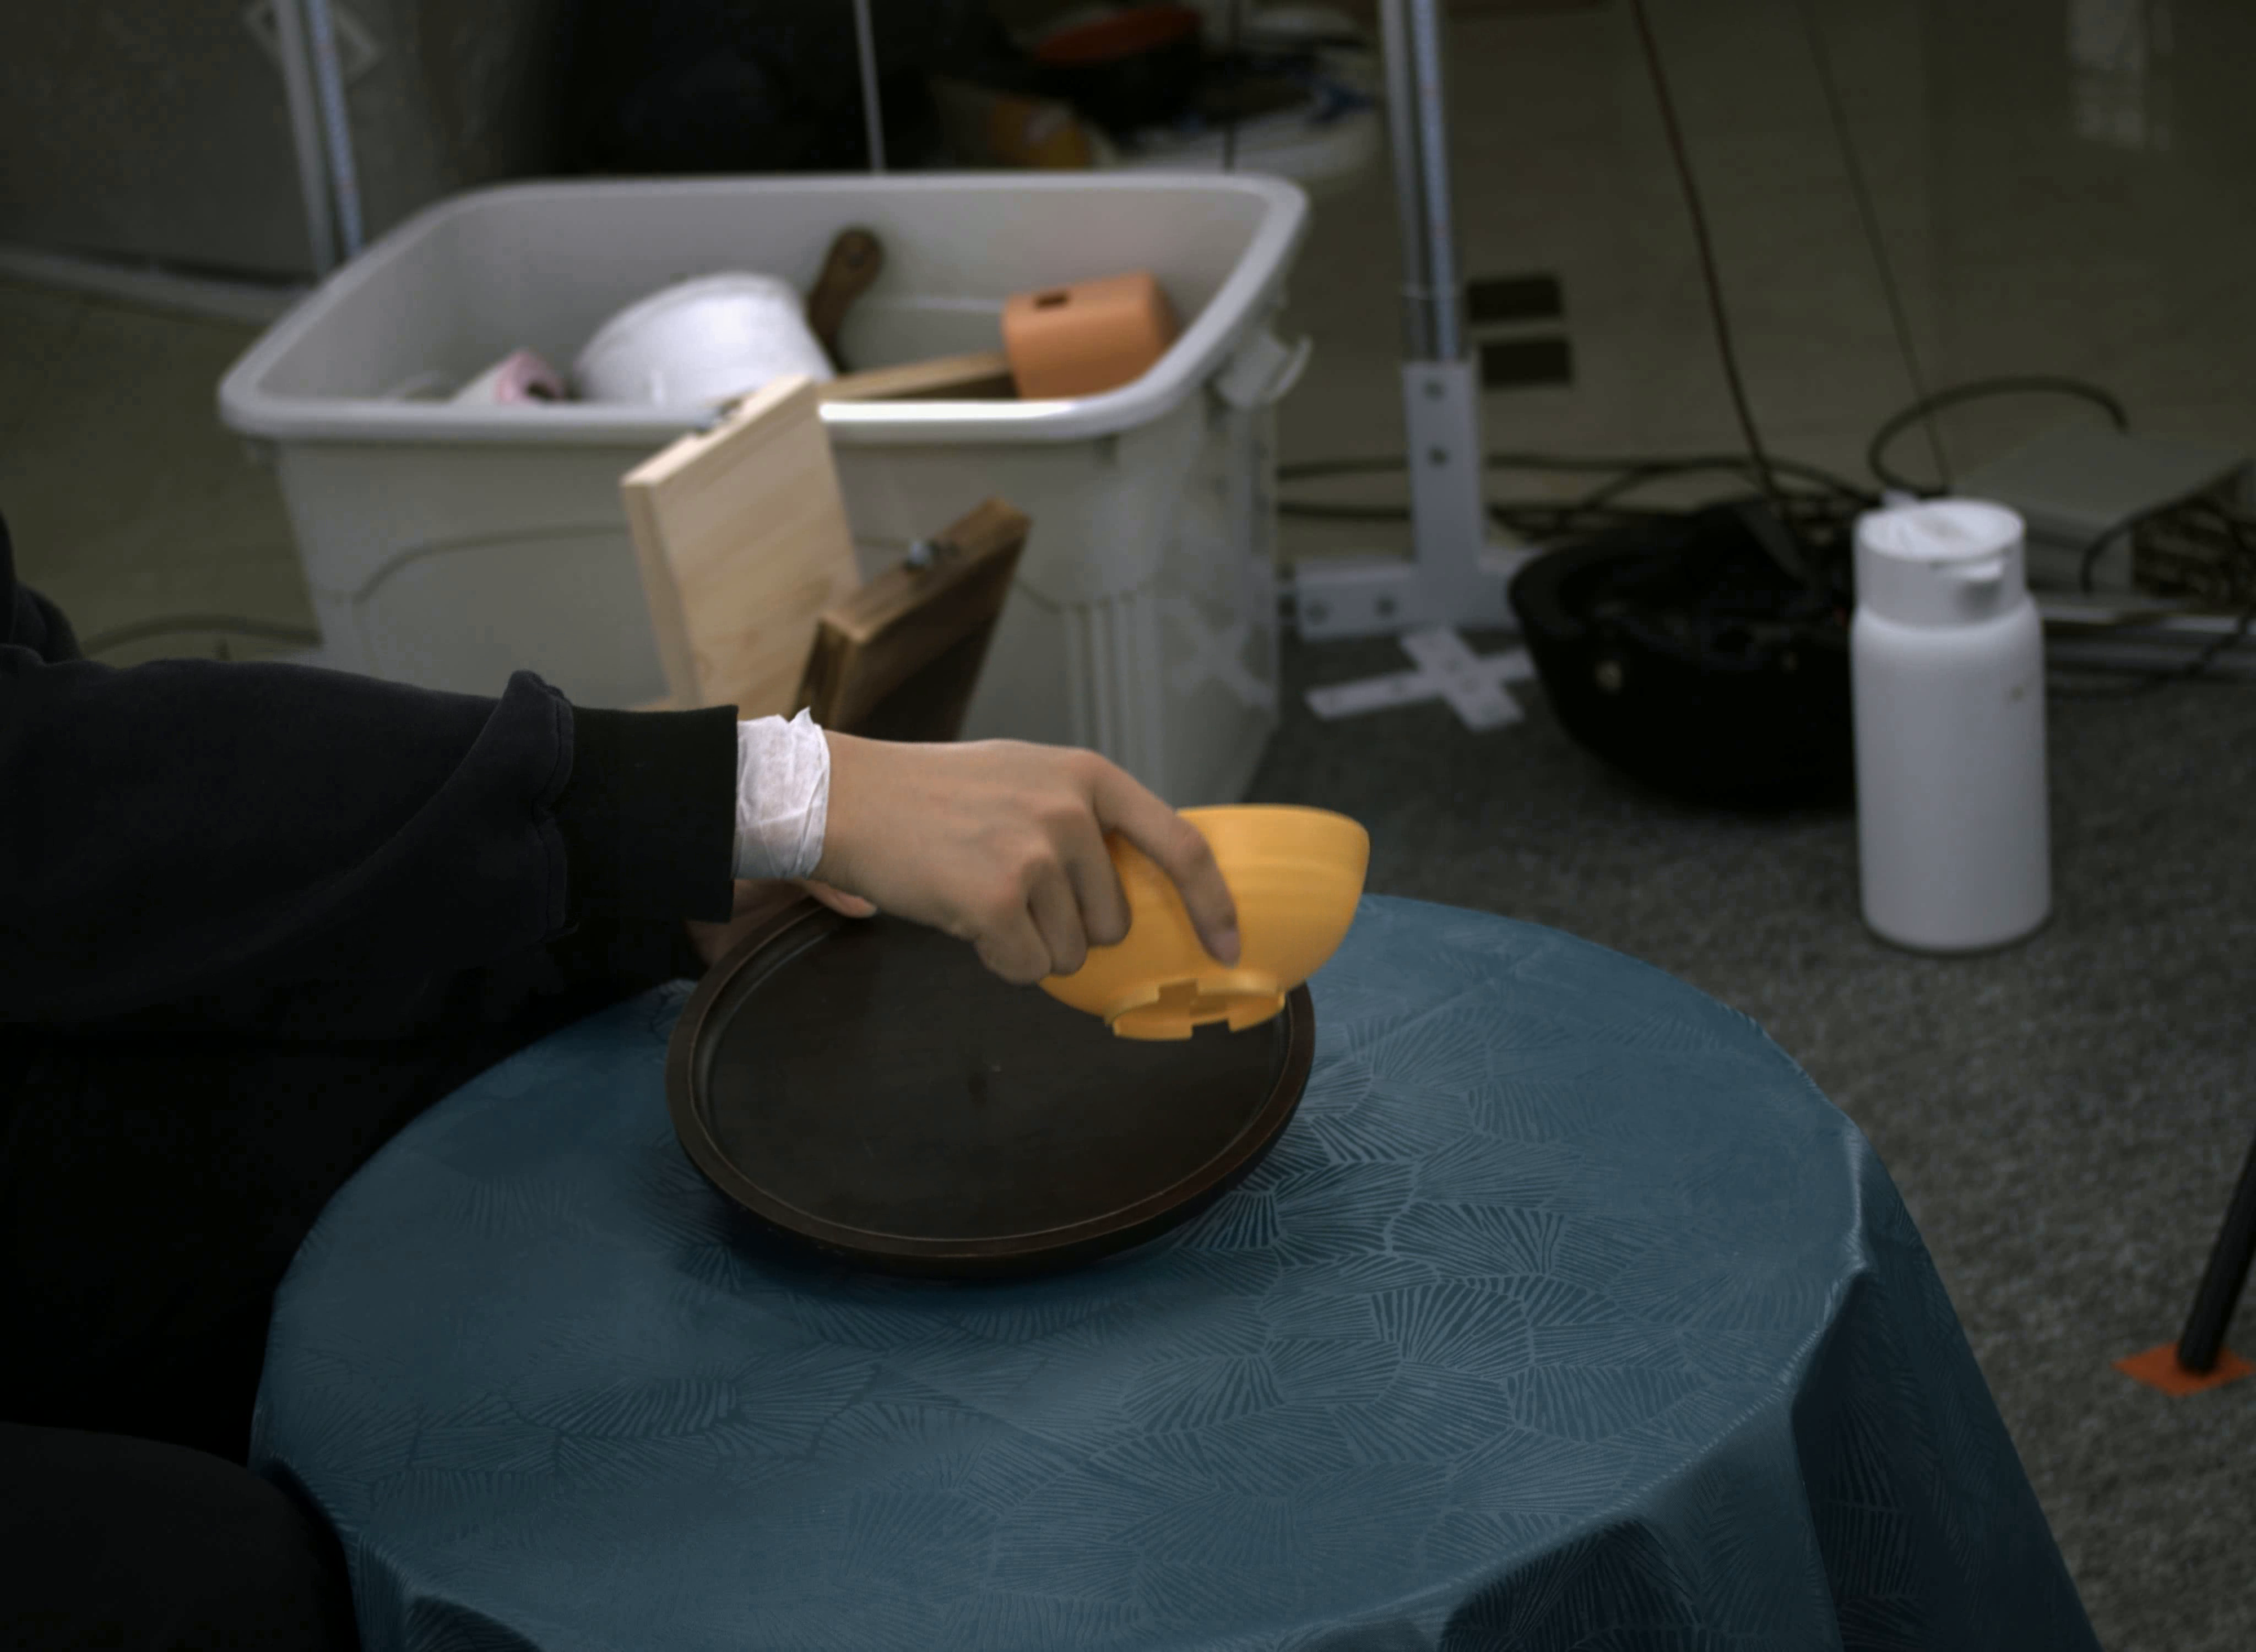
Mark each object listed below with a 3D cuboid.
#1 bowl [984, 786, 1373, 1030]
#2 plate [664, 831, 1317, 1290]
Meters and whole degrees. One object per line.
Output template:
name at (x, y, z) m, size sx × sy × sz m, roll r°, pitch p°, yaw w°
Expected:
bowl at (0.022, 0.037, 2.084) m, size 0.145 × 0.059 × 0.147 m, roll -6°, pitch -18°, yaw -2°
plate at (-0.053, 0.092, 2.186) m, size 0.254 × 0.029 × 0.250 m, roll -4°, pitch 39°, yaw 3°
